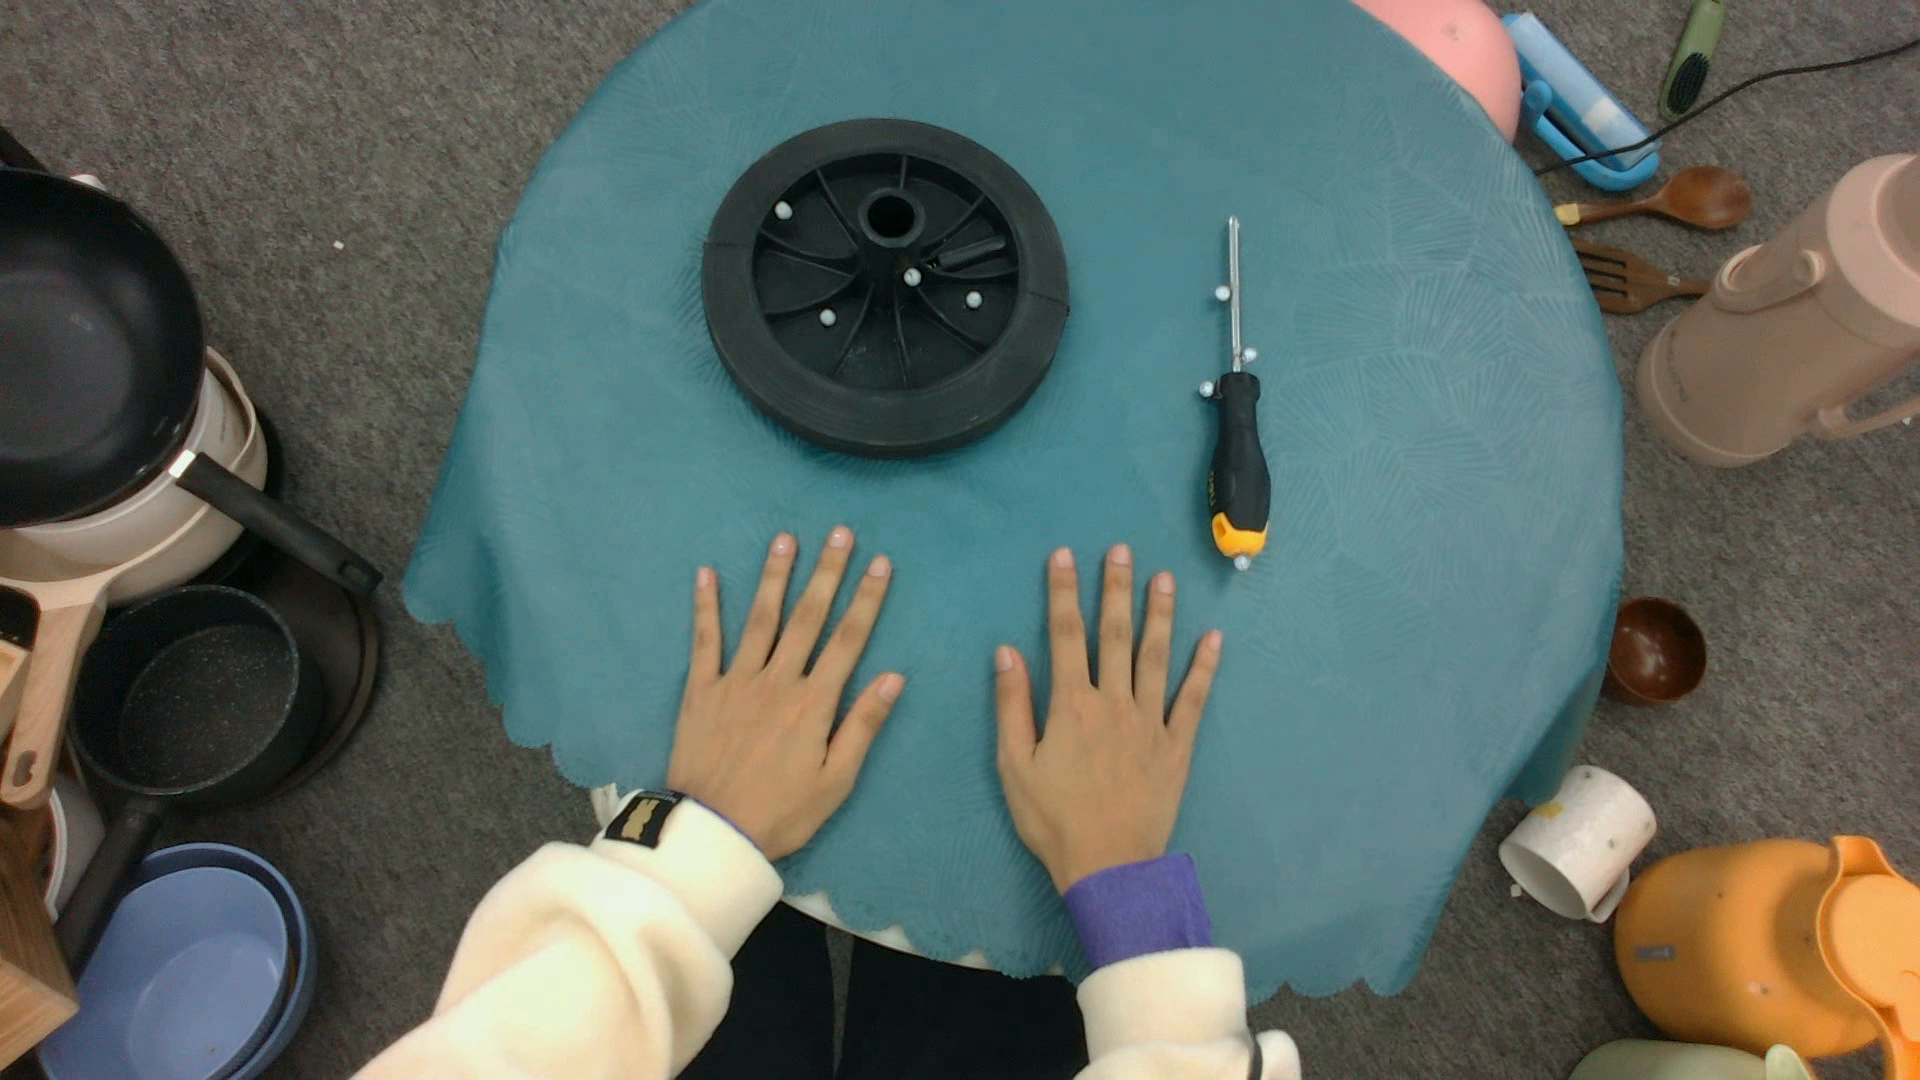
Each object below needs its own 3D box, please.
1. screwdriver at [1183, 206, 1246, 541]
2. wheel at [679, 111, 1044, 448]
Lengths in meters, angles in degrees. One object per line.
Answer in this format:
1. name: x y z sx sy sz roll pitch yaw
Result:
1. screwdriver: 0.128 -0.093 0.717 0.031 0.031 0.197 2 69 -5
2. wheel: -0.046 -0.144 0.690 0.187 0.079 0.190 43 71 8
